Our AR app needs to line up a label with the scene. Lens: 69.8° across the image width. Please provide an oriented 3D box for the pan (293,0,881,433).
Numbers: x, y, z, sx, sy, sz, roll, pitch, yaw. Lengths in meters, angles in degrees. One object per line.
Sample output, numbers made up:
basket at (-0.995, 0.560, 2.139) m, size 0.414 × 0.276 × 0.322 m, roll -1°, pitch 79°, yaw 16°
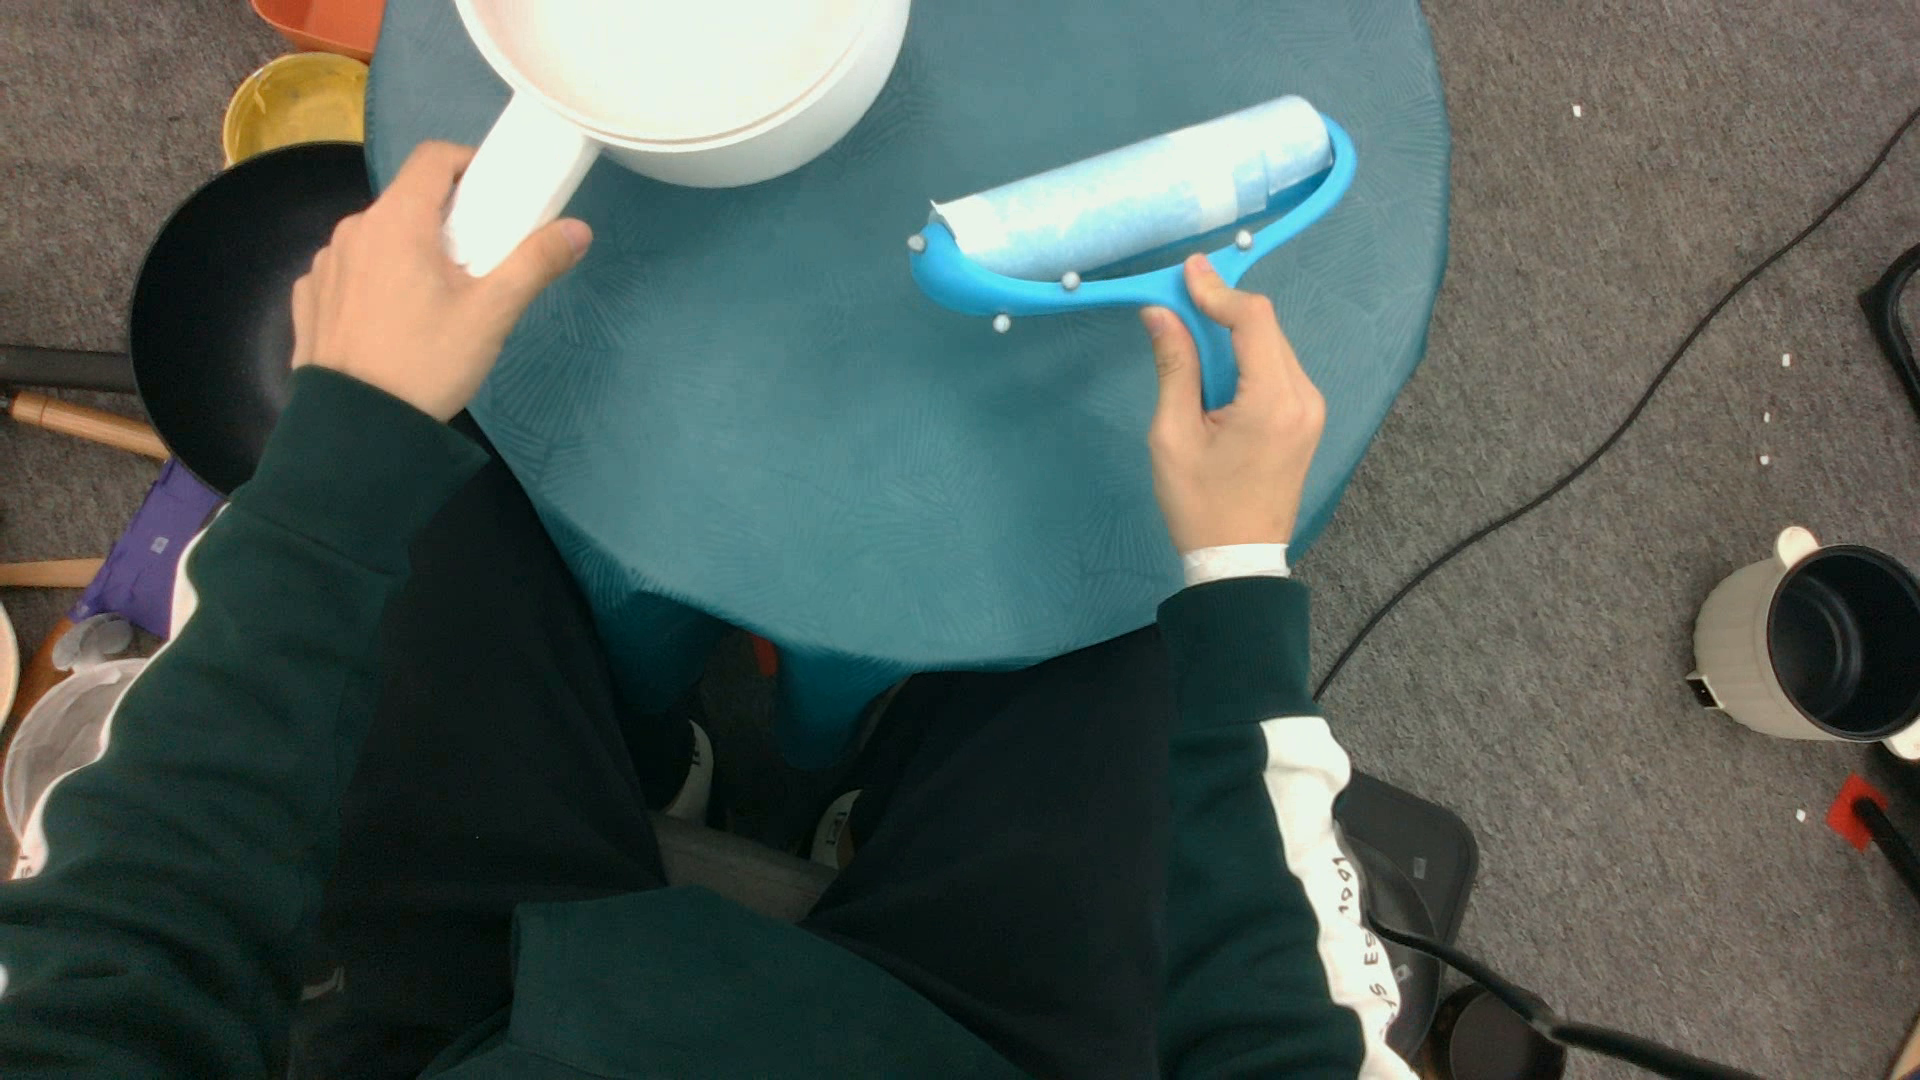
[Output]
pan at (-0.178, -0.204, 0.646) m, size 0.201 × 0.102 × 0.355 m, roll 33°, pitch 90°, yaw 2°

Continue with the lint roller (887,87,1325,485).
lint roller at (0.097, -0.117, 0.667) m, size 0.229 × 0.067 × 0.180 m, roll -22°, pitch 81°, yaw -16°
